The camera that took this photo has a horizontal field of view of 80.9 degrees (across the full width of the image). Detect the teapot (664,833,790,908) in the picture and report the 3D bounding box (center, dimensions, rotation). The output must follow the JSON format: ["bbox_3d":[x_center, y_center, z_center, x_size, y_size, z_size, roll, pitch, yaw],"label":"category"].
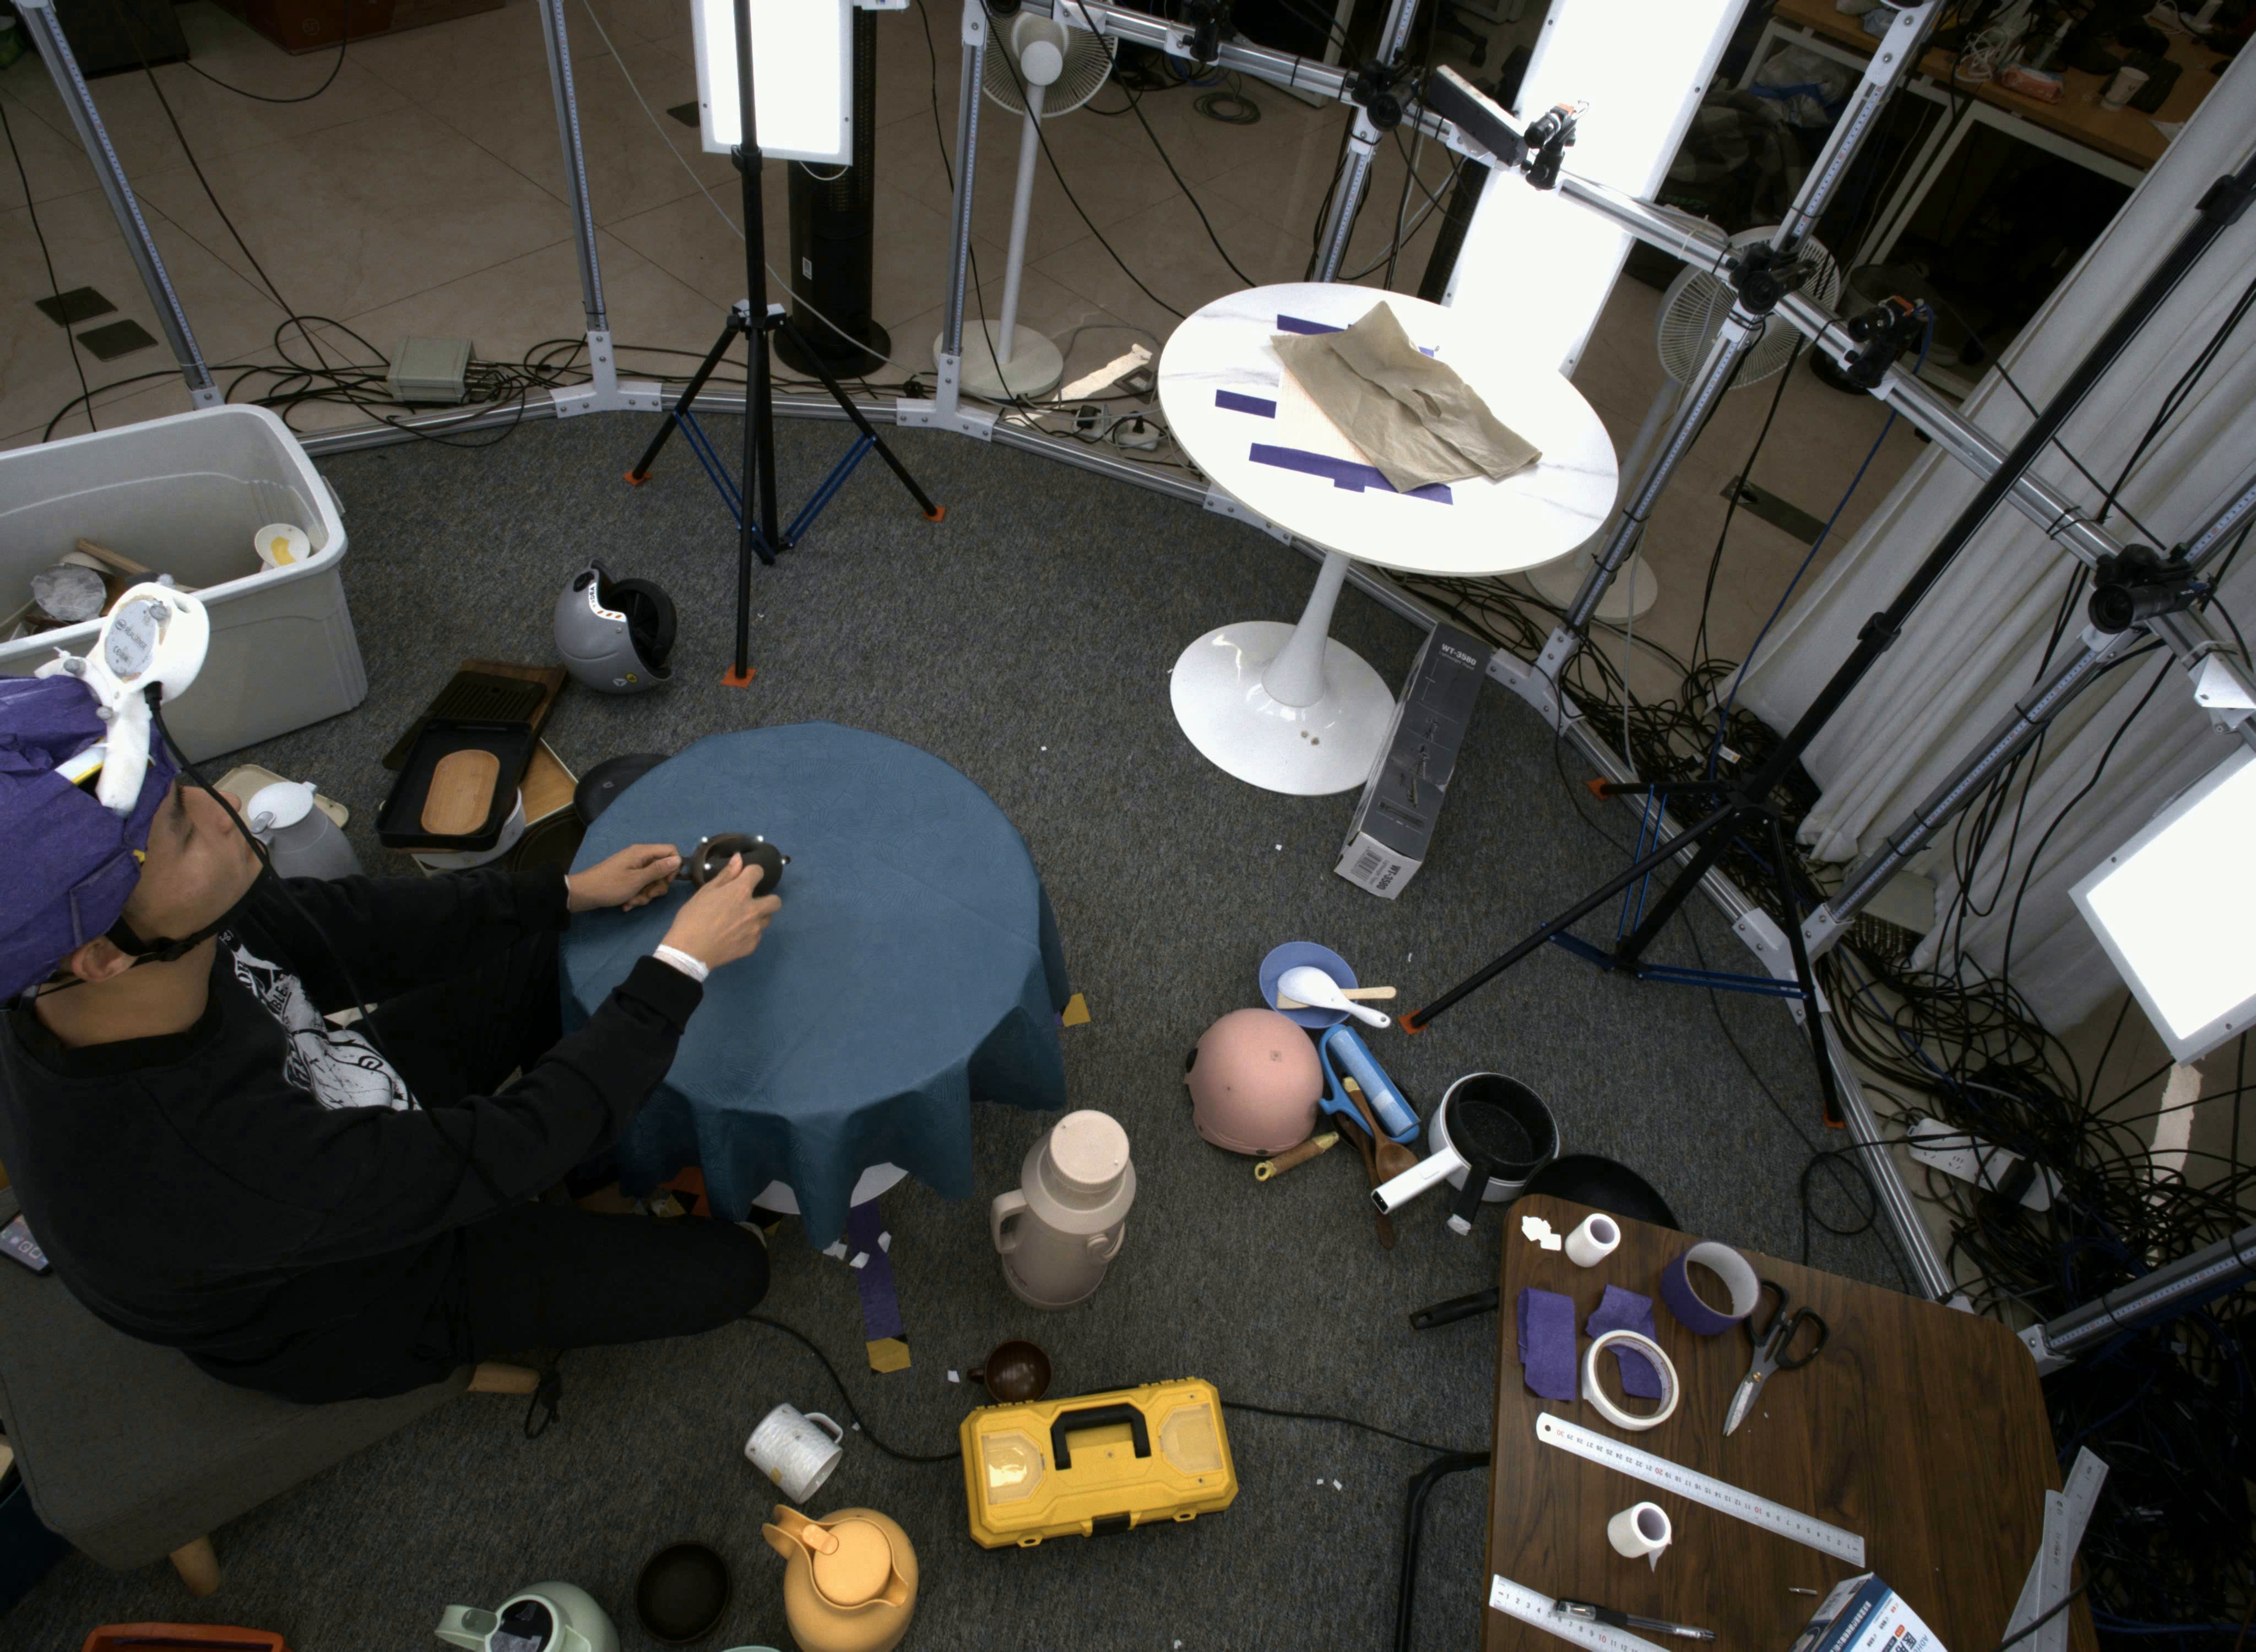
[{"bbox_3d":[-0.503,0.053,1.623,0.154,0.055,0.100,-4,56,-21],"label":"teapot"}]

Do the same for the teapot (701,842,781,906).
[{"bbox_3d":[-0.451,0.053,1.510,0.092,0.066,0.150,-18,15,-12],"label":"teapot"}]
